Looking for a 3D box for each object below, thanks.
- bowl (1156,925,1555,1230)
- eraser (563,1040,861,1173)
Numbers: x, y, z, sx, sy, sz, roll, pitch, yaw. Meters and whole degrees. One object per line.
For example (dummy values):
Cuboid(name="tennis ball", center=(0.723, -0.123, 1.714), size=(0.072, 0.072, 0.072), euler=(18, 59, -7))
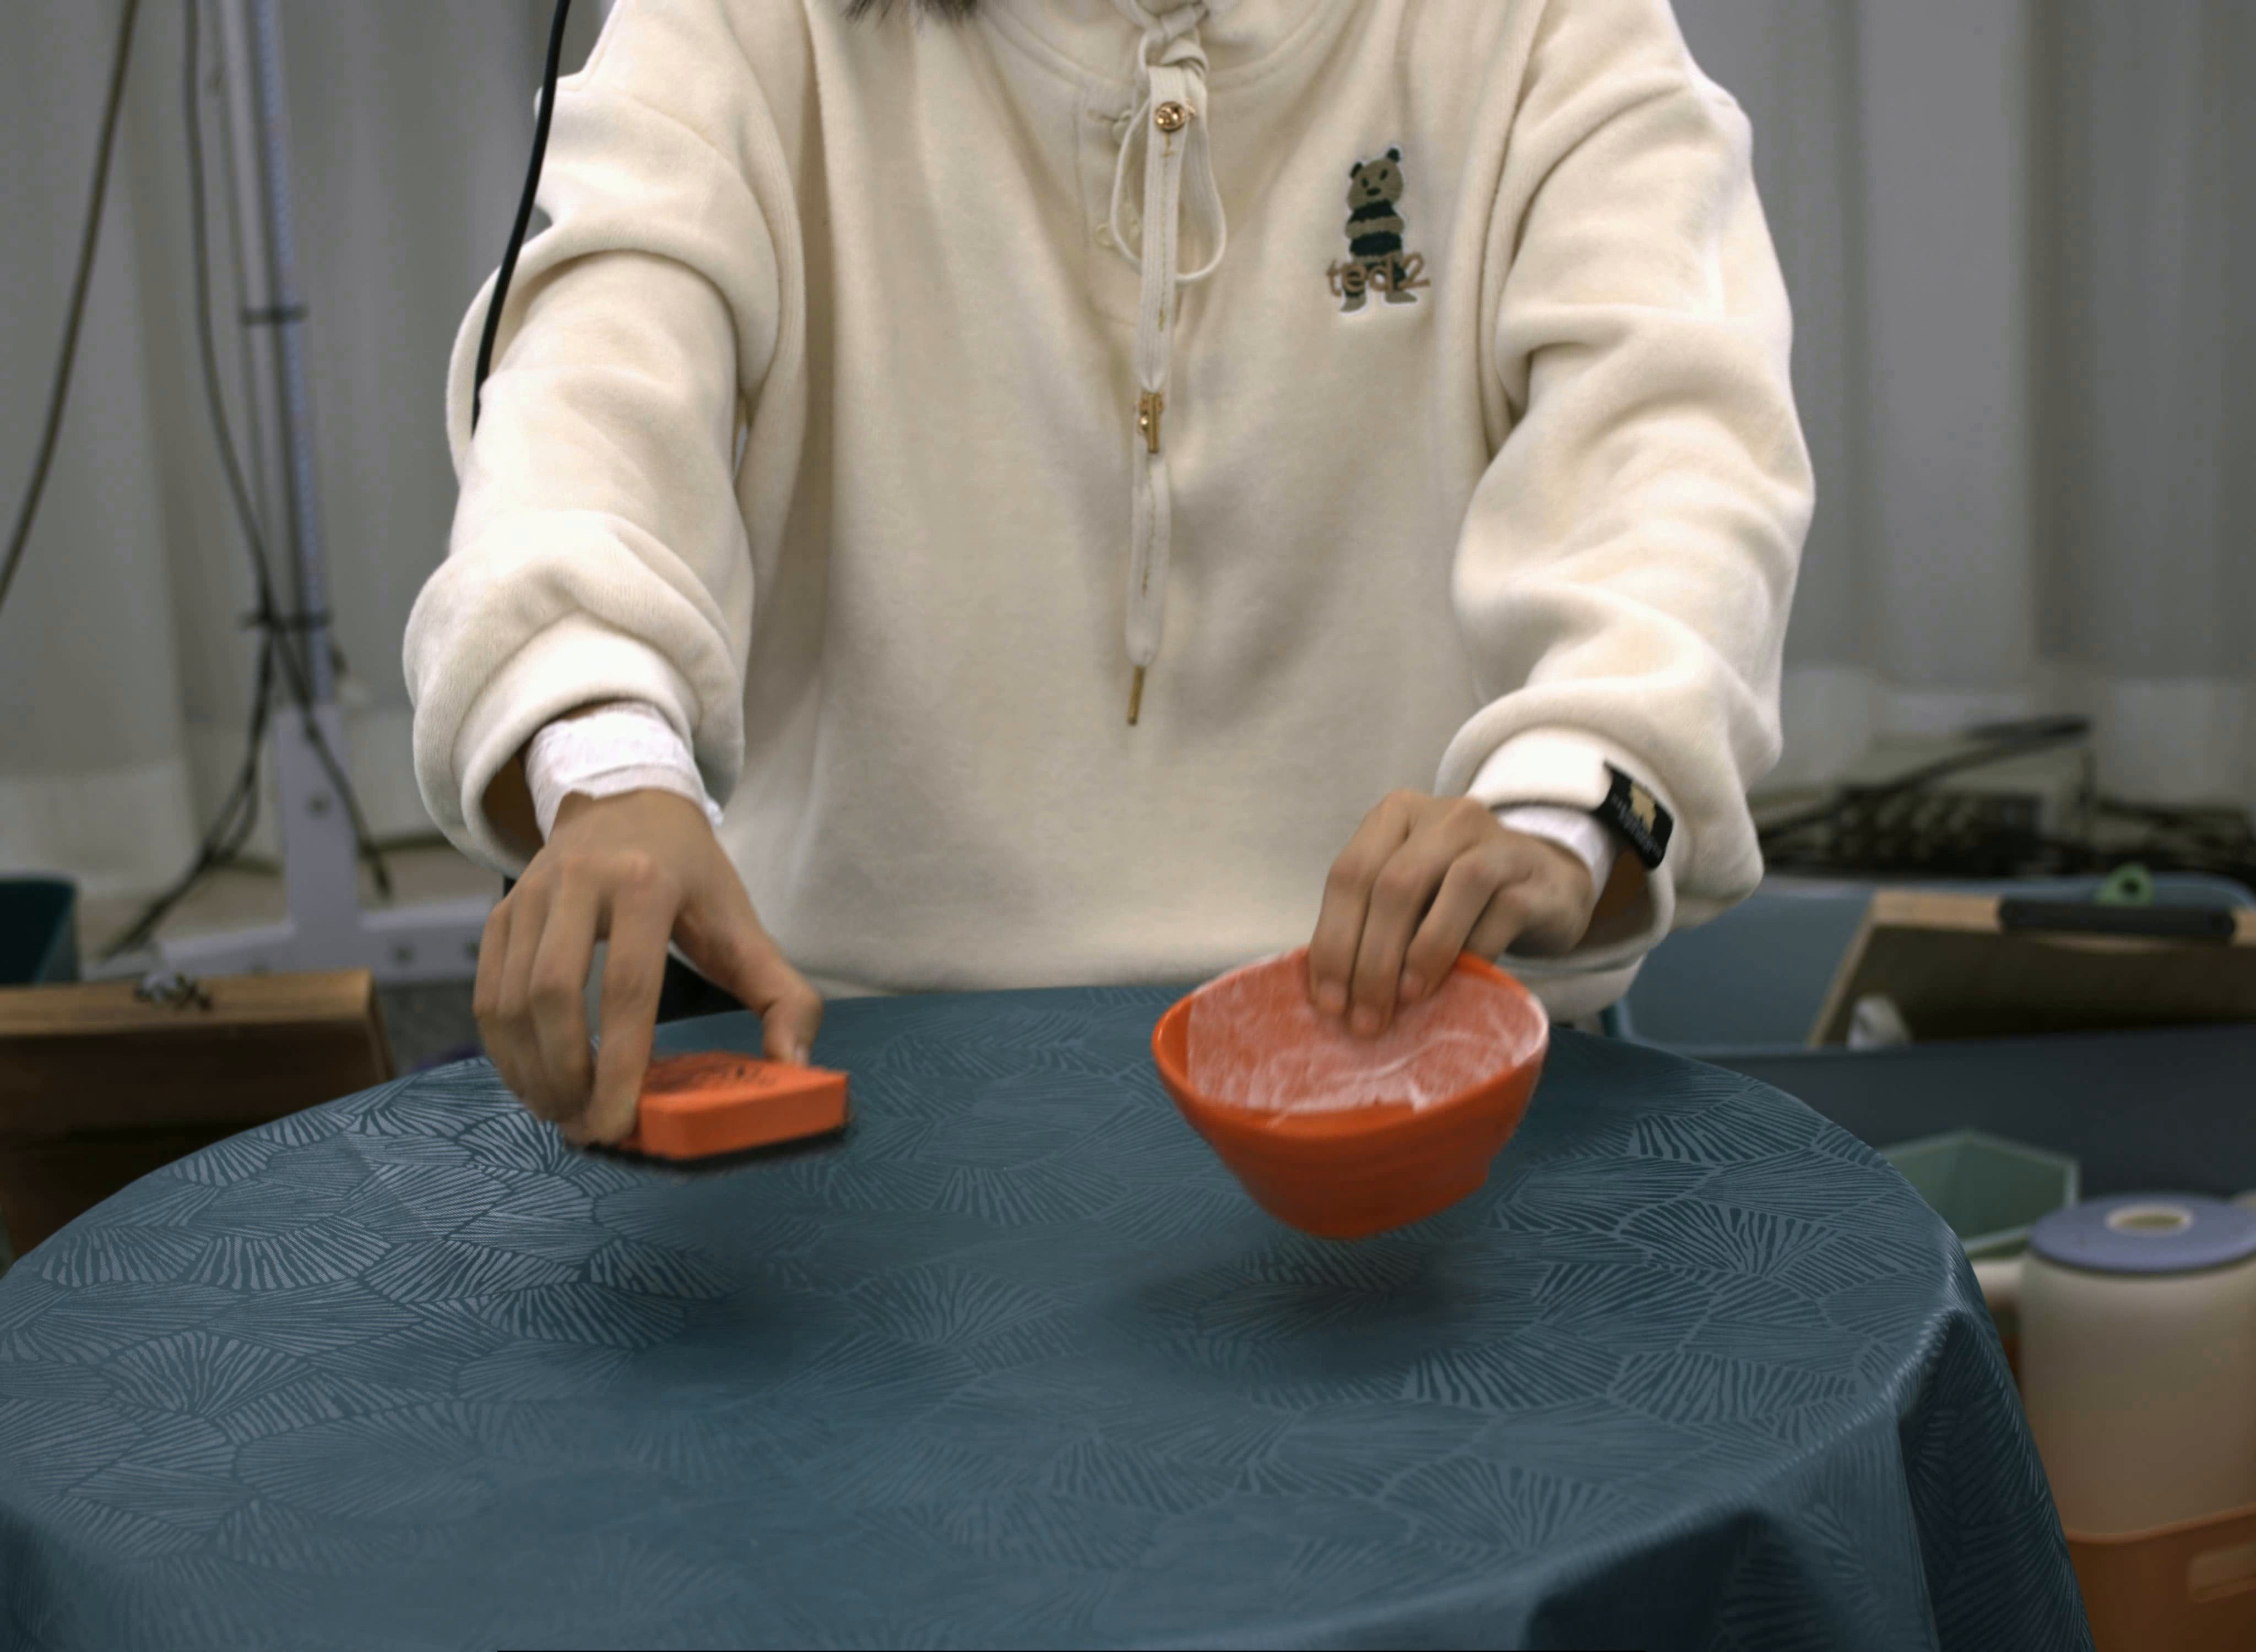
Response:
Cuboid(name="bowl", center=(0.069, 0.078, 1.613), size=(0.118, 0.051, 0.120), euler=(-7, 25, 3))
Cuboid(name="eraser", center=(-0.125, 0.083, 1.630), size=(0.059, 0.023, 0.108), euler=(-13, 7, -26))
